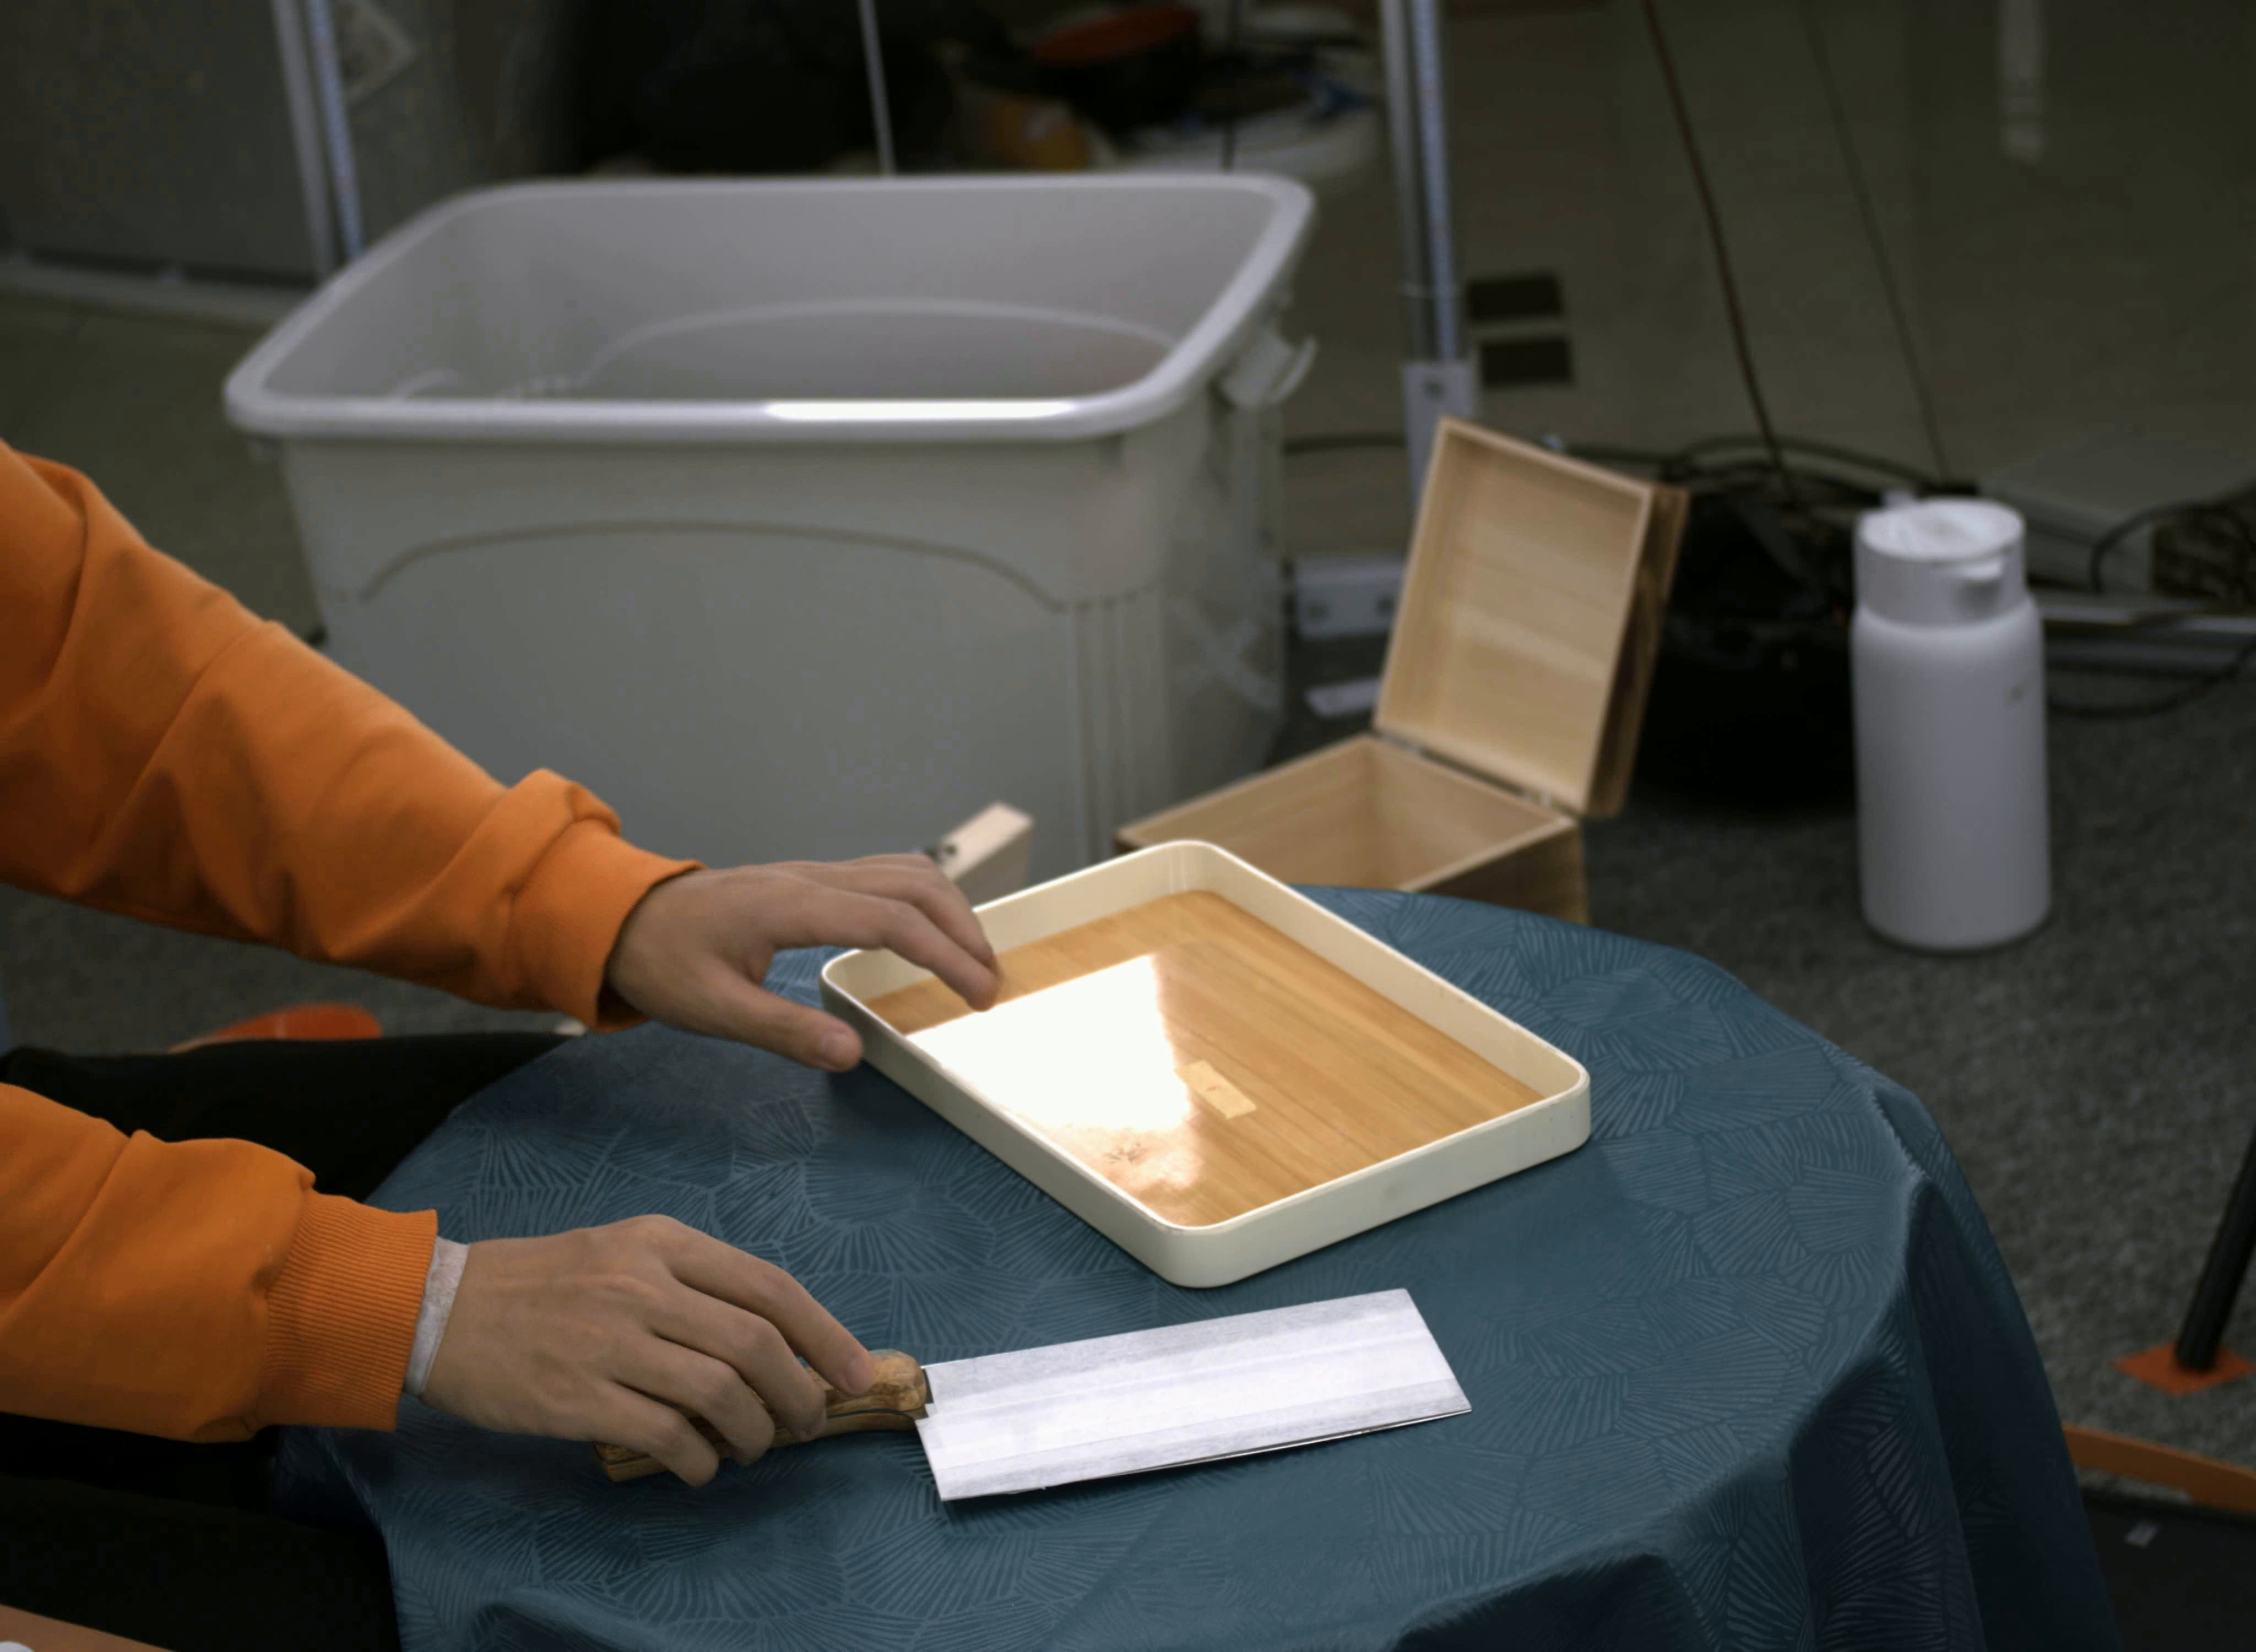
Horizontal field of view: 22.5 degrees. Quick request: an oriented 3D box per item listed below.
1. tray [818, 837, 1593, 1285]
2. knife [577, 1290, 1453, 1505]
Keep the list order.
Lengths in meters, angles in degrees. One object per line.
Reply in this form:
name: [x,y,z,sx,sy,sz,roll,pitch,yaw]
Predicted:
tray: [0.026,0.088,2.217,0.190,0.028,0.297,-19,28,-25]
knife: [-0.038,0.207,1.993,0.305,0.021,0.091,-8,26,-10]
